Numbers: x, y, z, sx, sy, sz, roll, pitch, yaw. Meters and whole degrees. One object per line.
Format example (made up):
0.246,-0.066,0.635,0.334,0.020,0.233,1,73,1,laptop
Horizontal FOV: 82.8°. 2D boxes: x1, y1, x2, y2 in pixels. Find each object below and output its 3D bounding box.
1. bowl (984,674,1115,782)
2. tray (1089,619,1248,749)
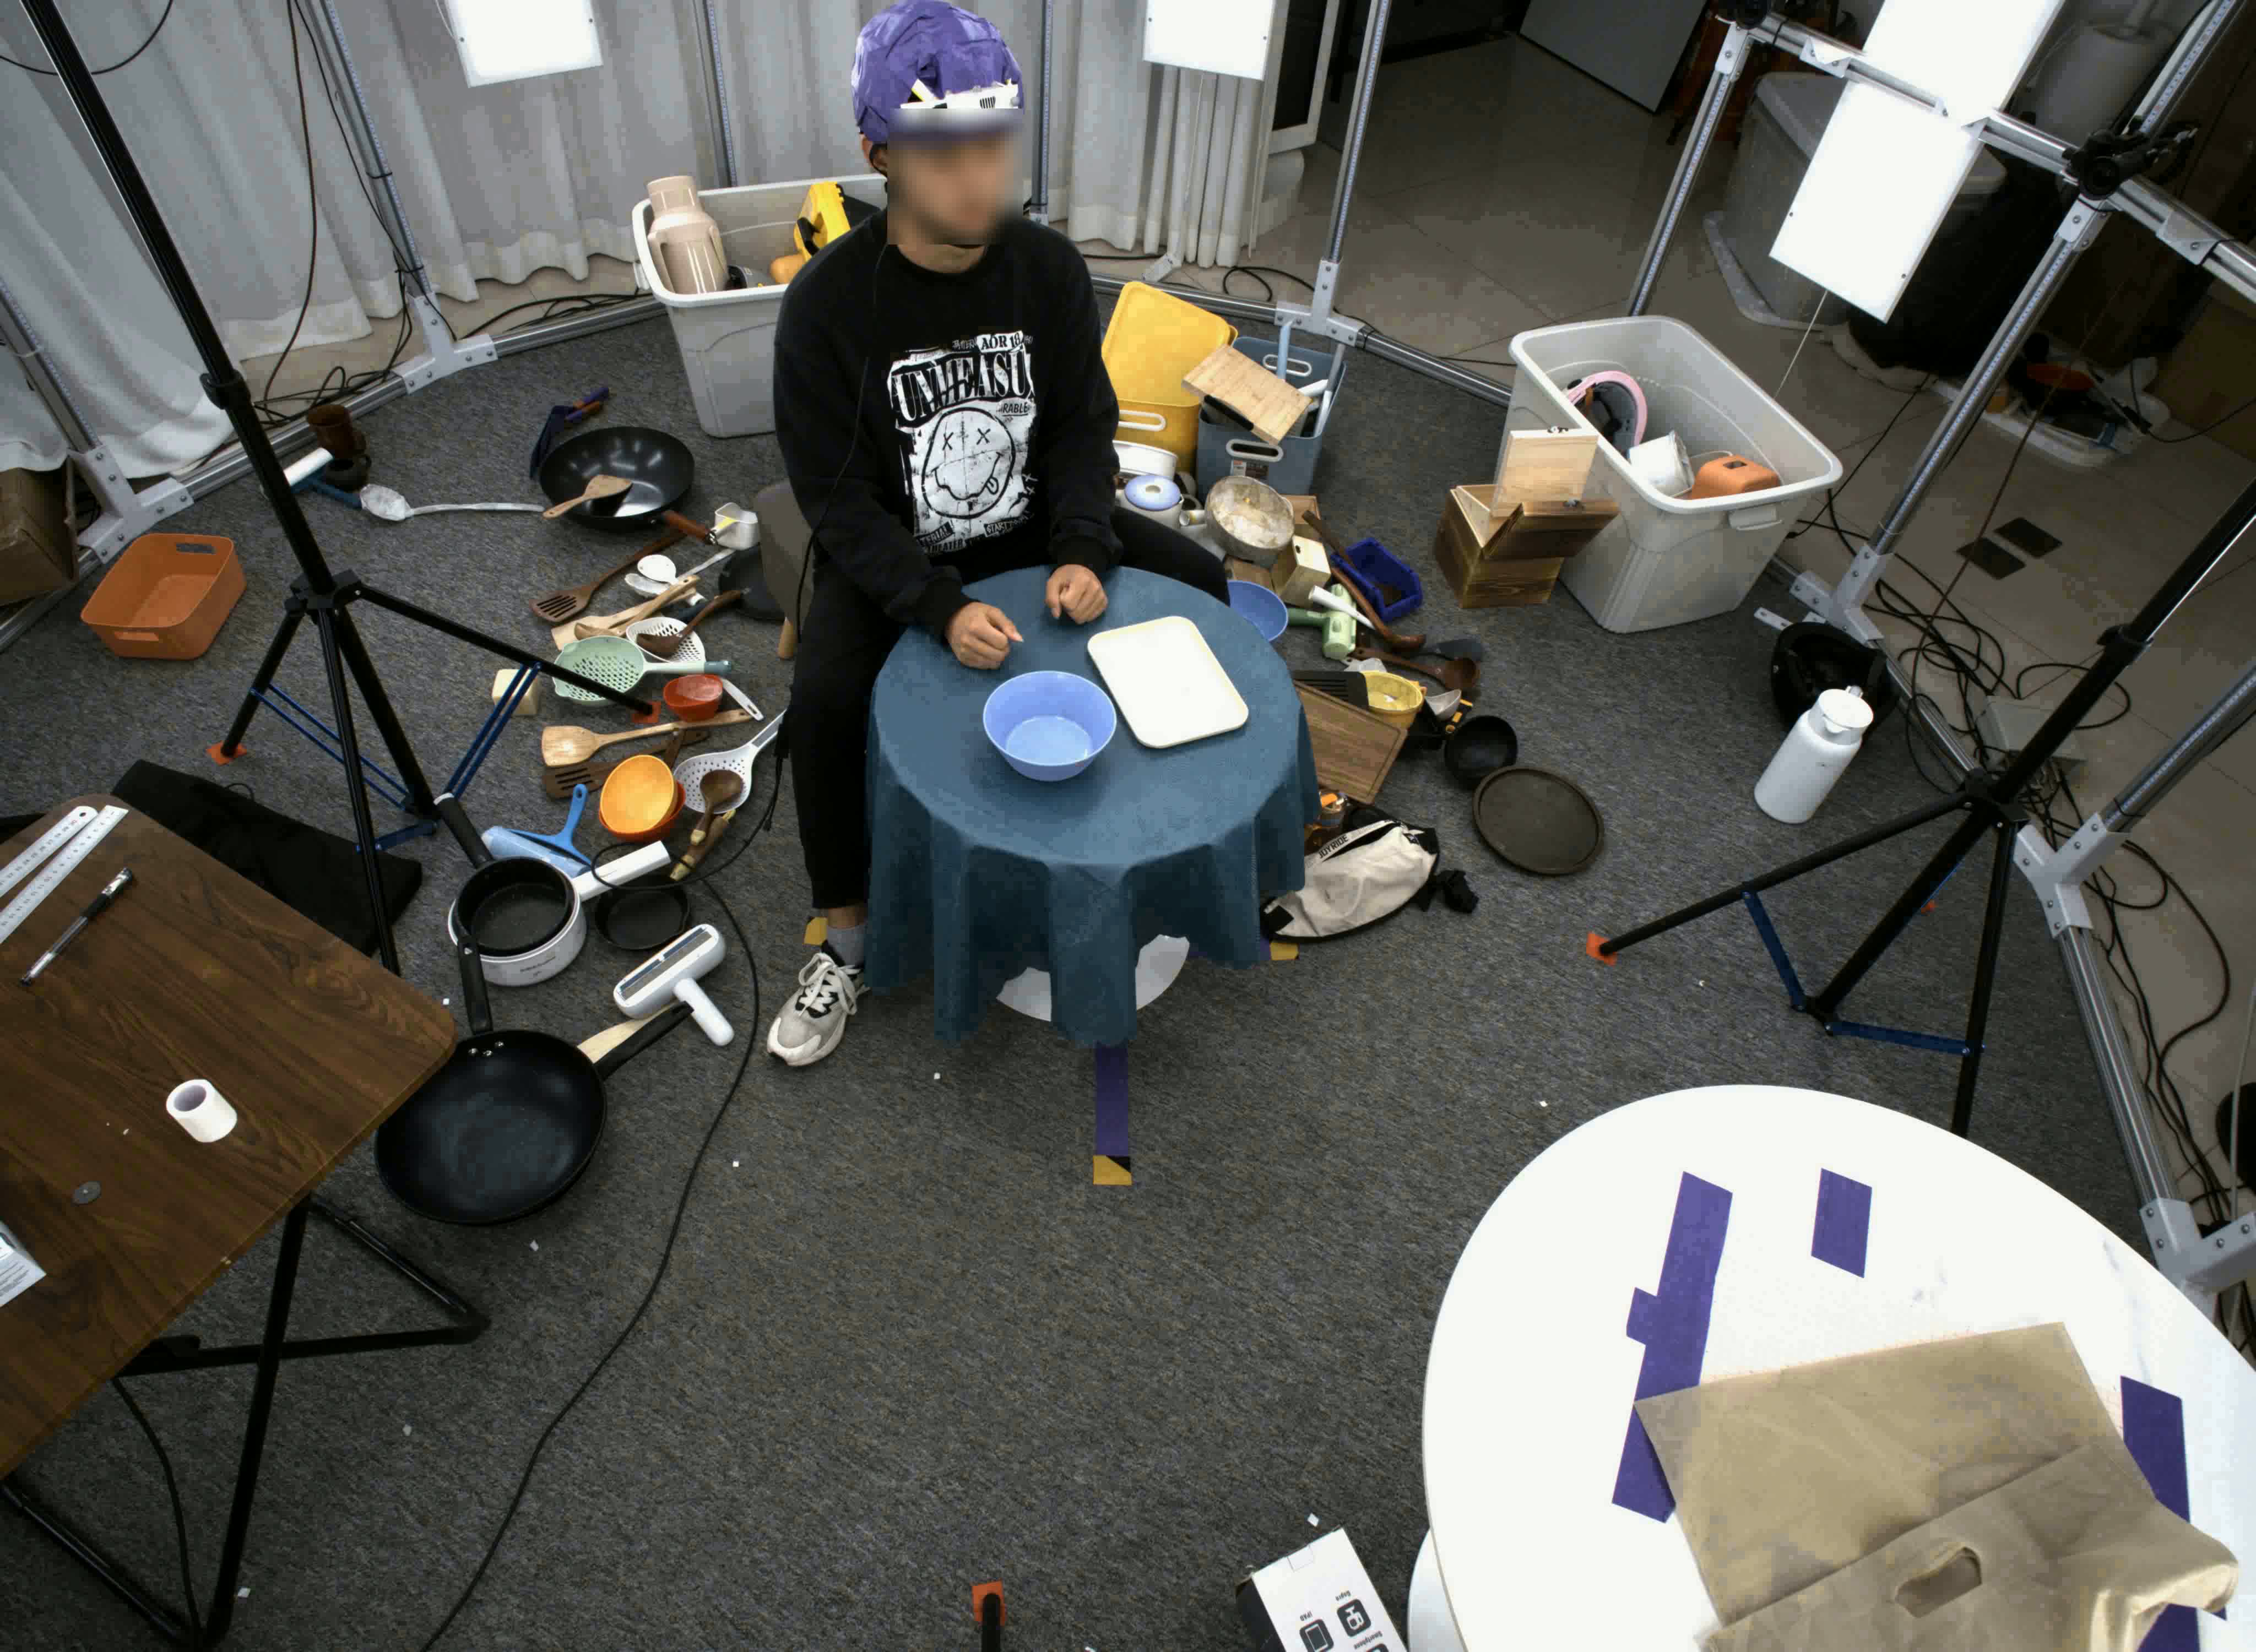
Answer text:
-0.106,-0.124,1.738,0.176,0.068,0.180,2,48,-3,bowl
0.056,-0.207,1.857,0.171,0.017,0.245,-15,51,-17,tray
